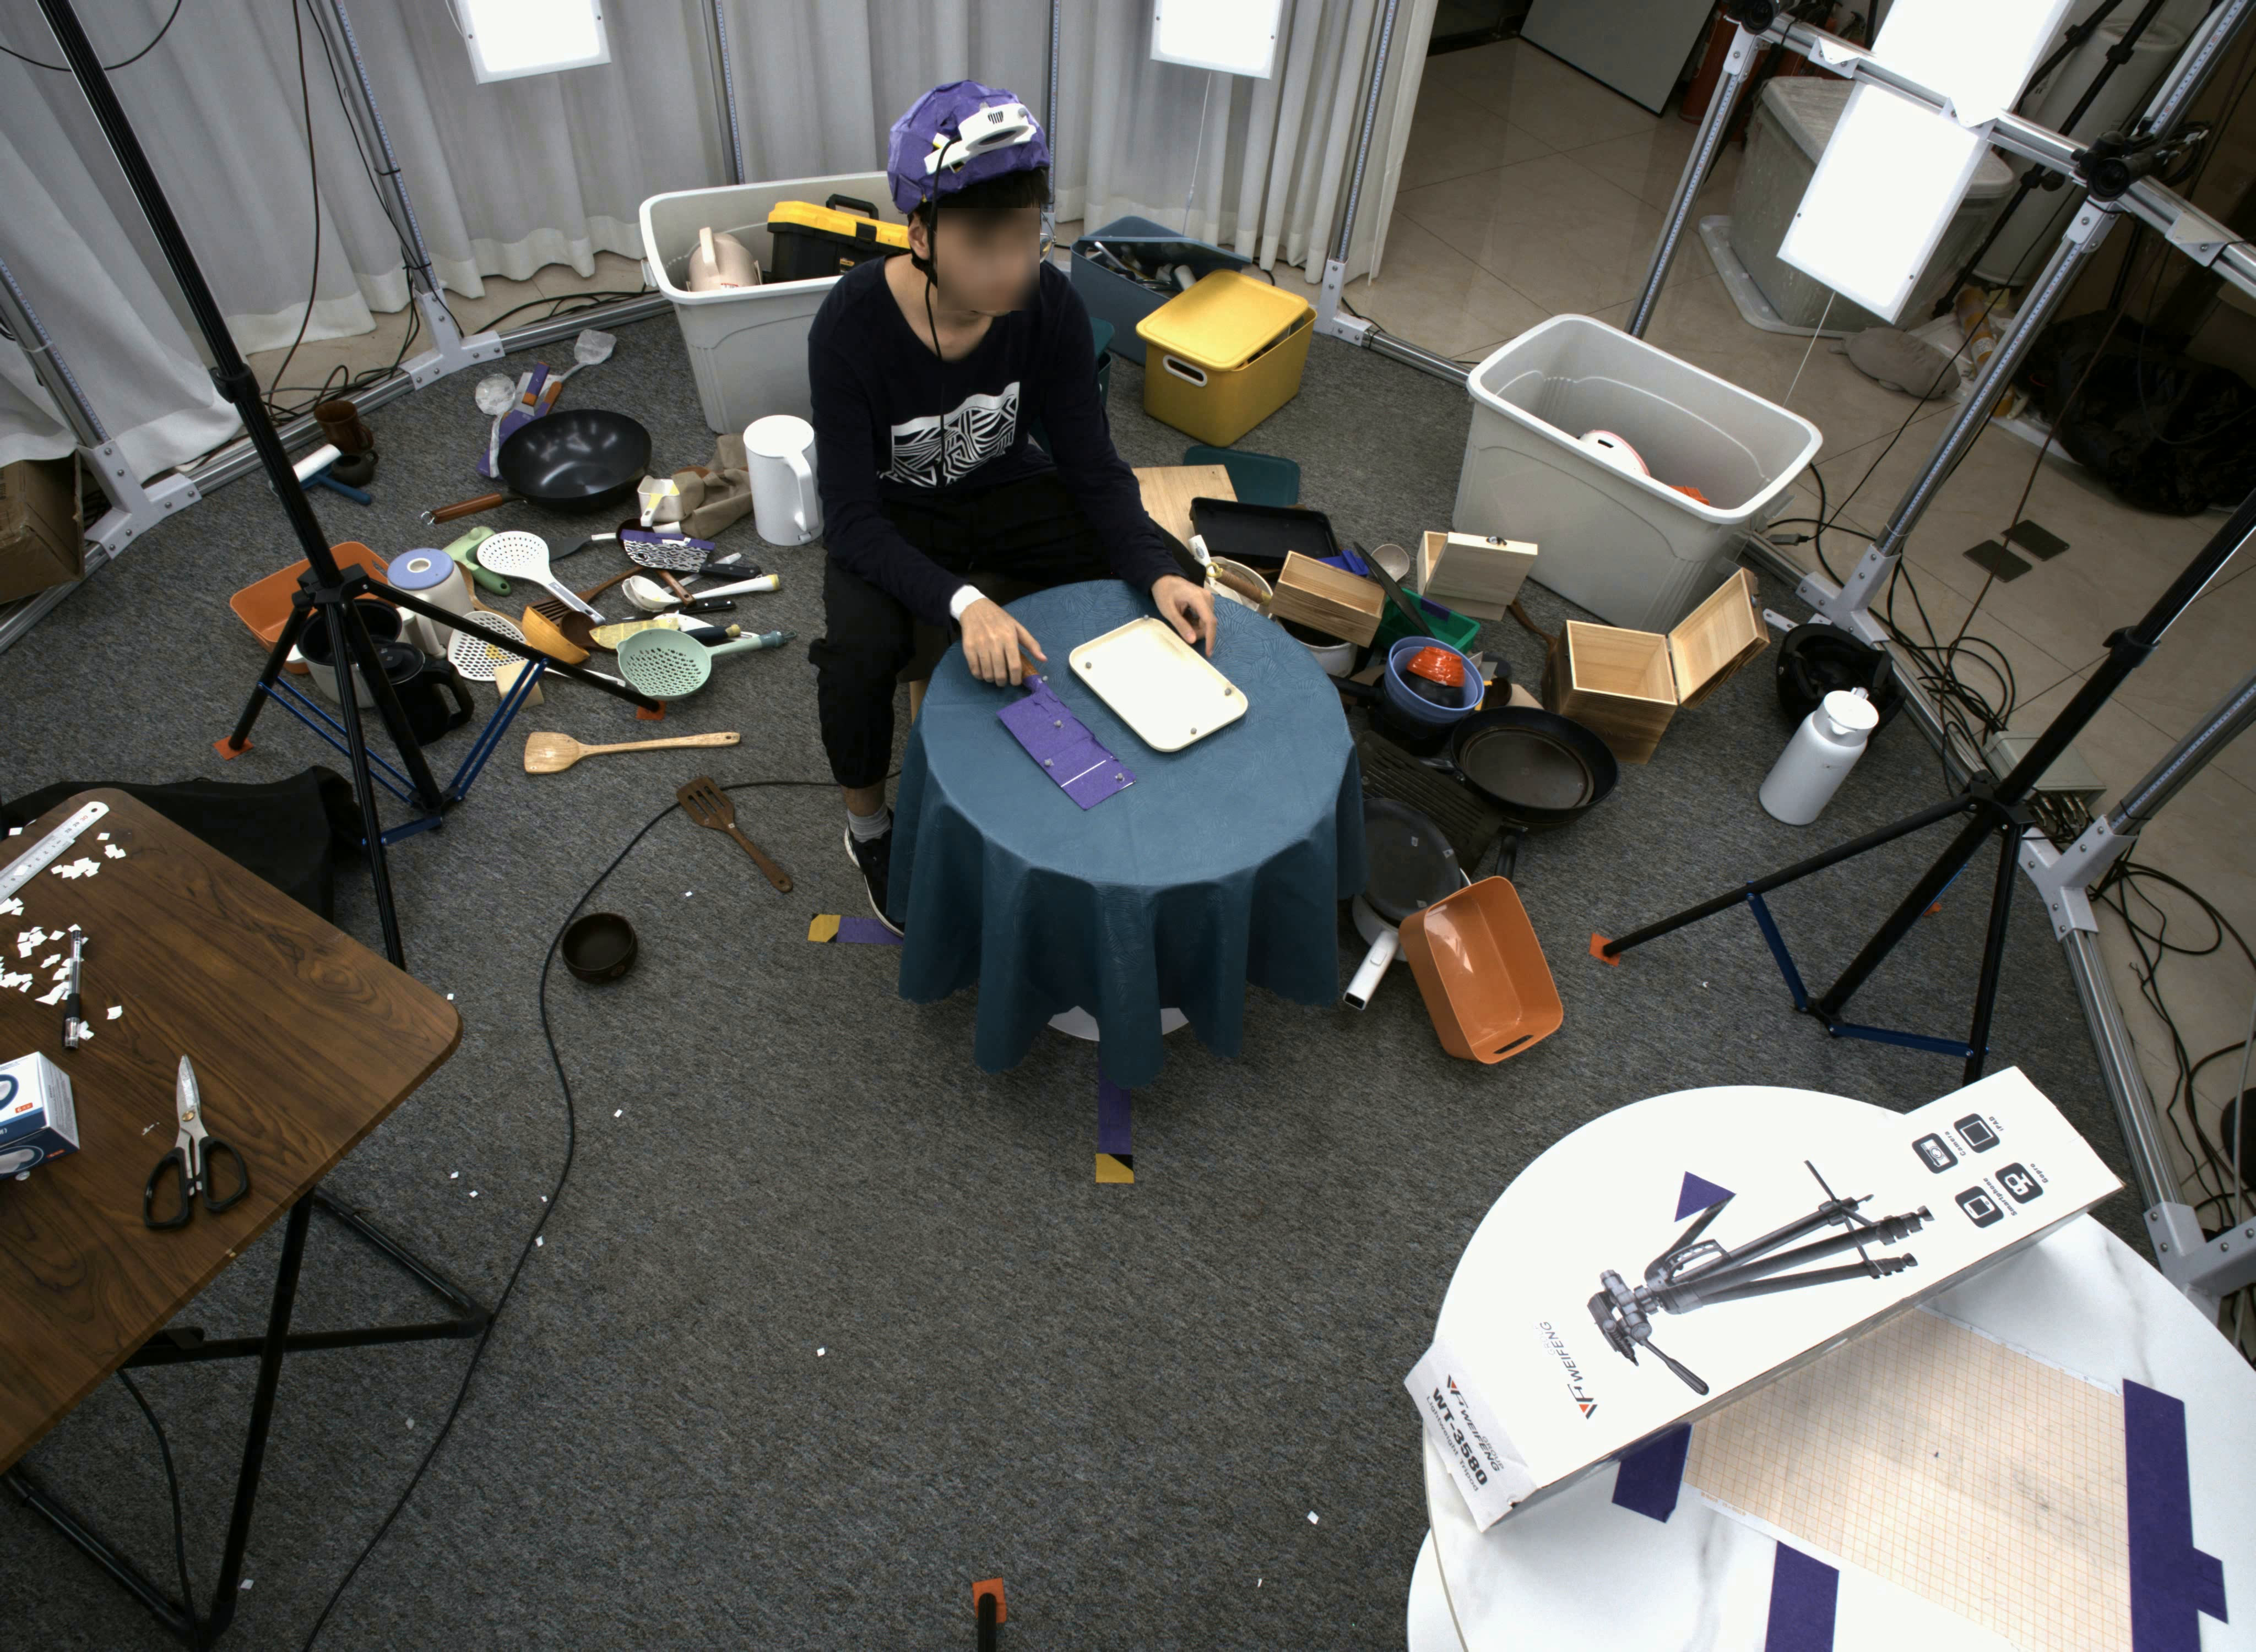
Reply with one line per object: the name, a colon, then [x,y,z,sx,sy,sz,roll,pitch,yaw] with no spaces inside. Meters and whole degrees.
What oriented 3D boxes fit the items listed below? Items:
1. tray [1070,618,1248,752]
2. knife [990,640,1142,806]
tray: [0.042,-0.204,1.835,0.172,0.017,0.244,-28,56,-25]
knife: [-0.114,-0.146,1.769,0.104,0.031,0.321,-29,57,-26]
